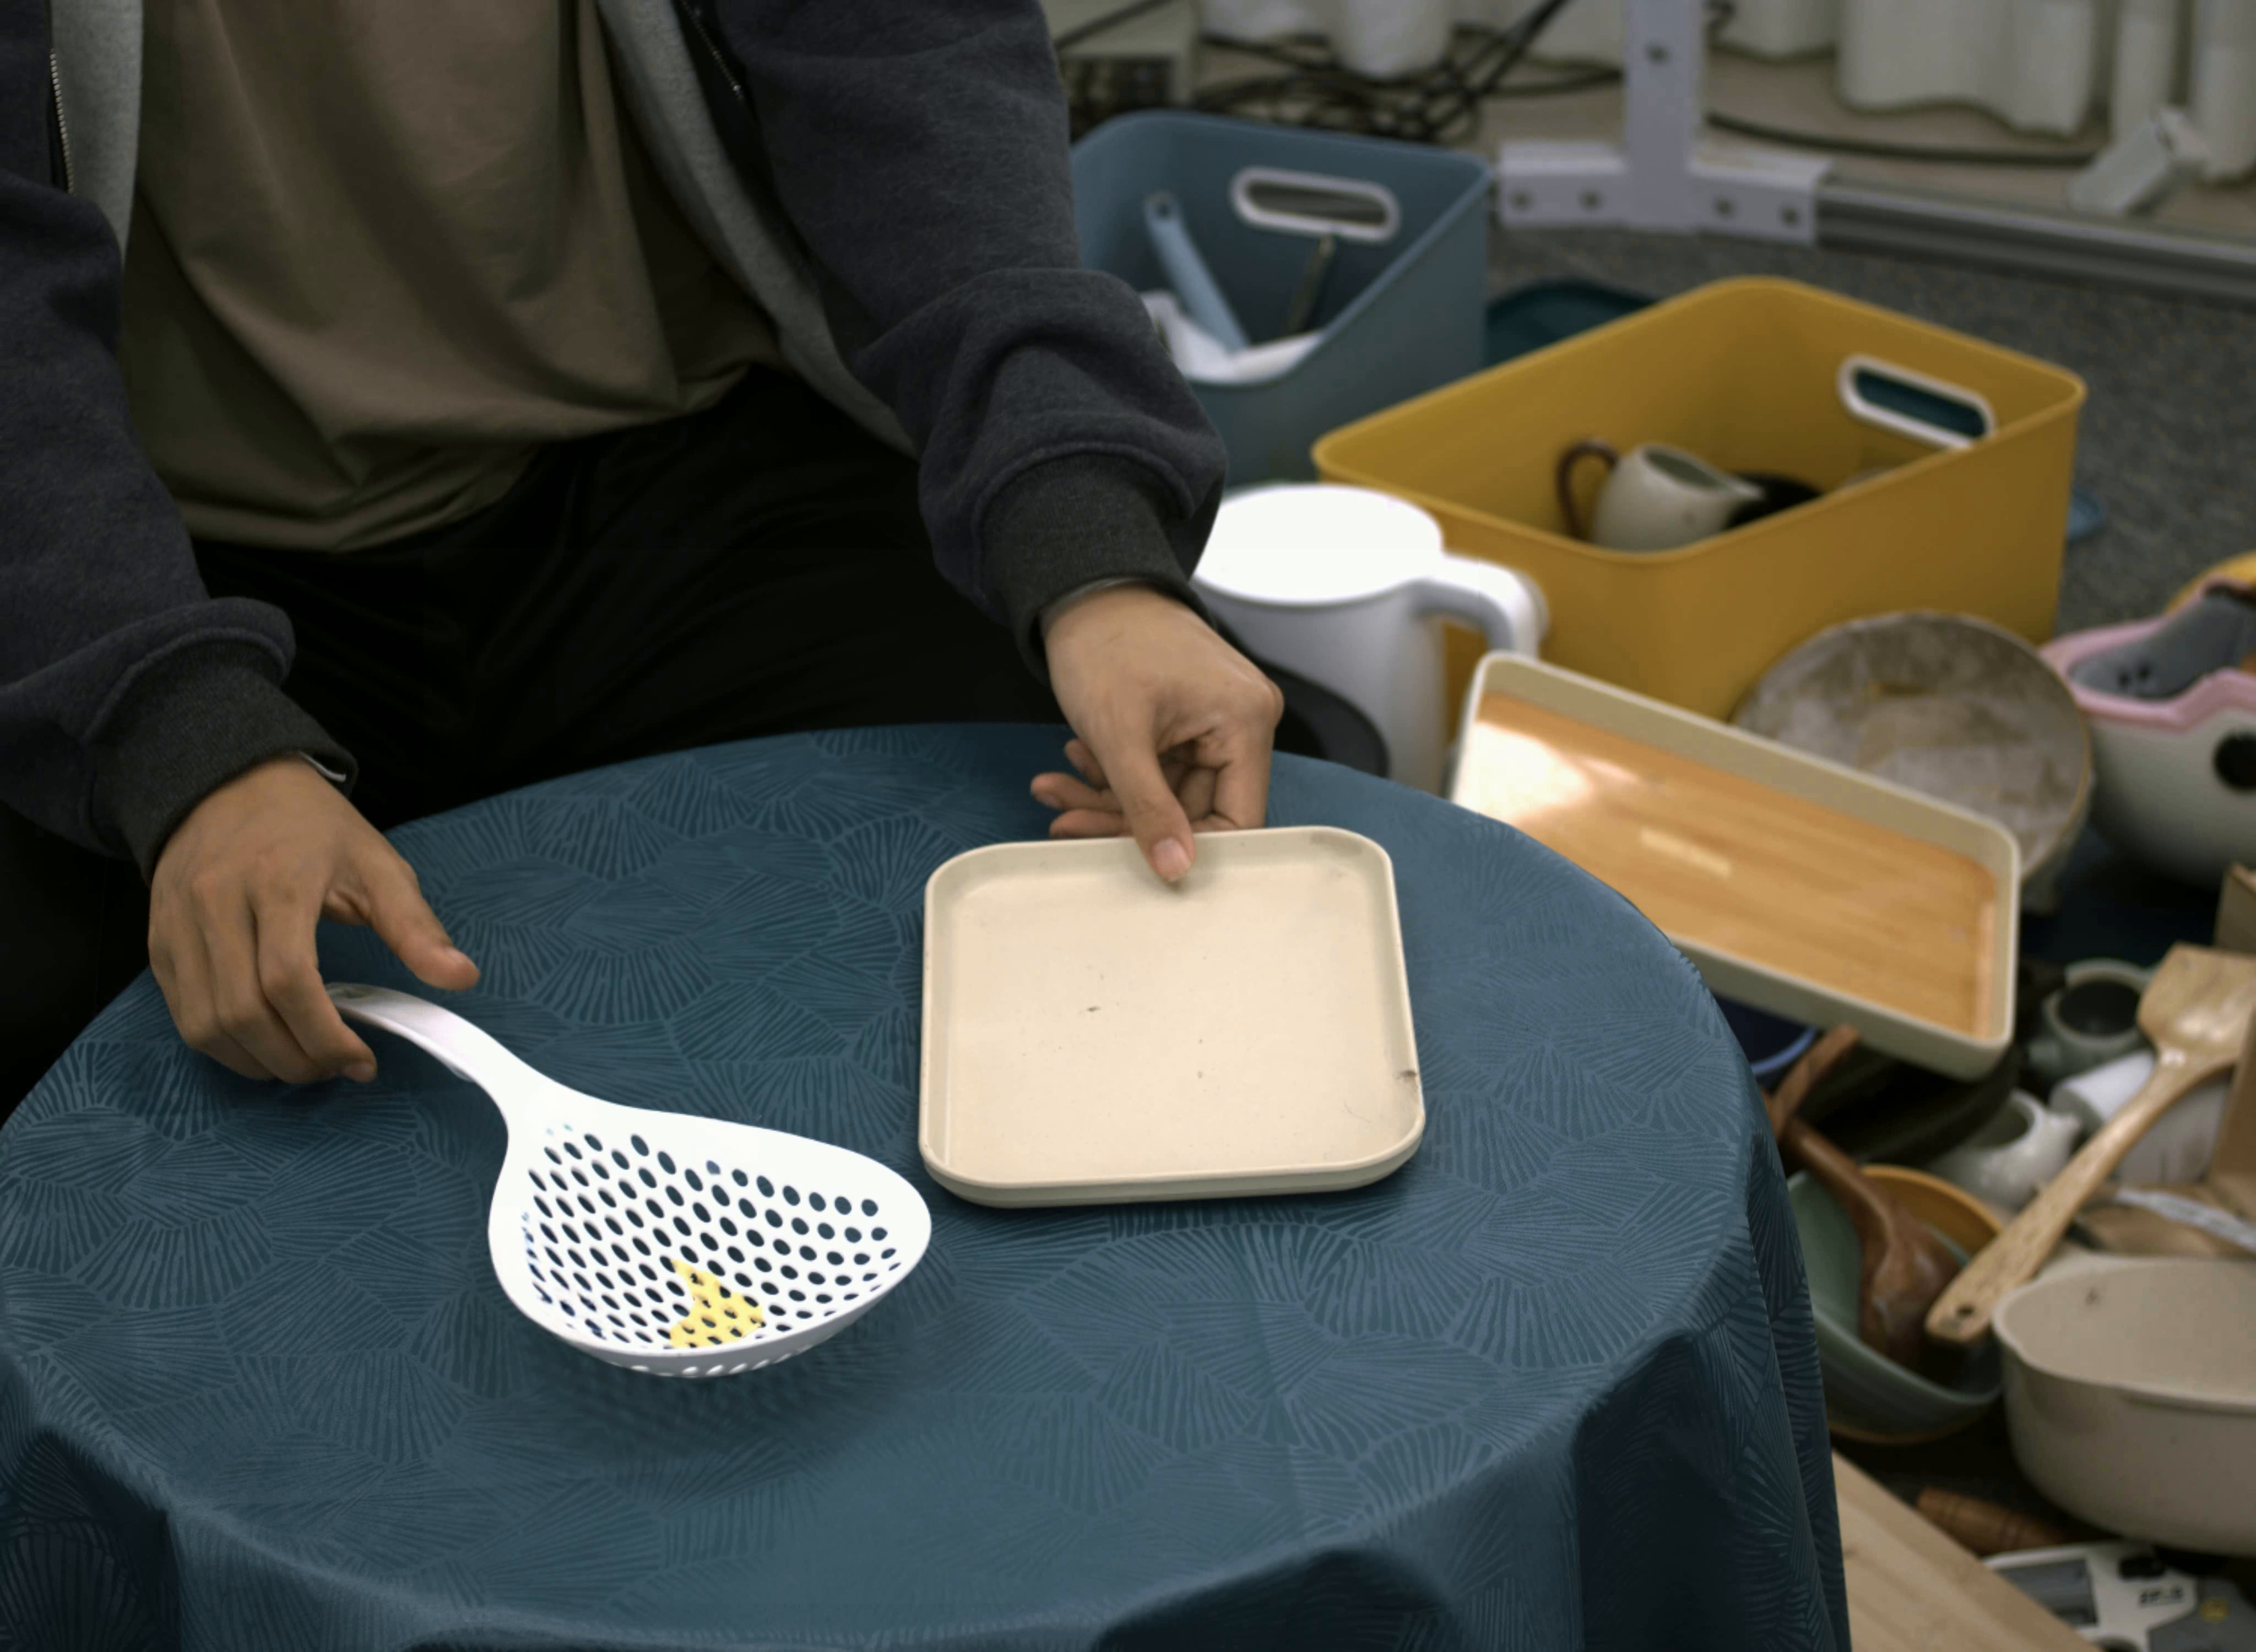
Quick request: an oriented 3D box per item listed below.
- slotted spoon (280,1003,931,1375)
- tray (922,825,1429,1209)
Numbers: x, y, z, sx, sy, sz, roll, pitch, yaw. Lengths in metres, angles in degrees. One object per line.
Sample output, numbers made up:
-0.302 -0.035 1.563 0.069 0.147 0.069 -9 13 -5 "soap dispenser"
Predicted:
-0.193 0.106 1.866 0.138 0.050 0.349 -22 33 -29 "slotted spoon"
0.014 0.065 1.950 0.170 0.017 0.243 -3 27 0 "tray"
